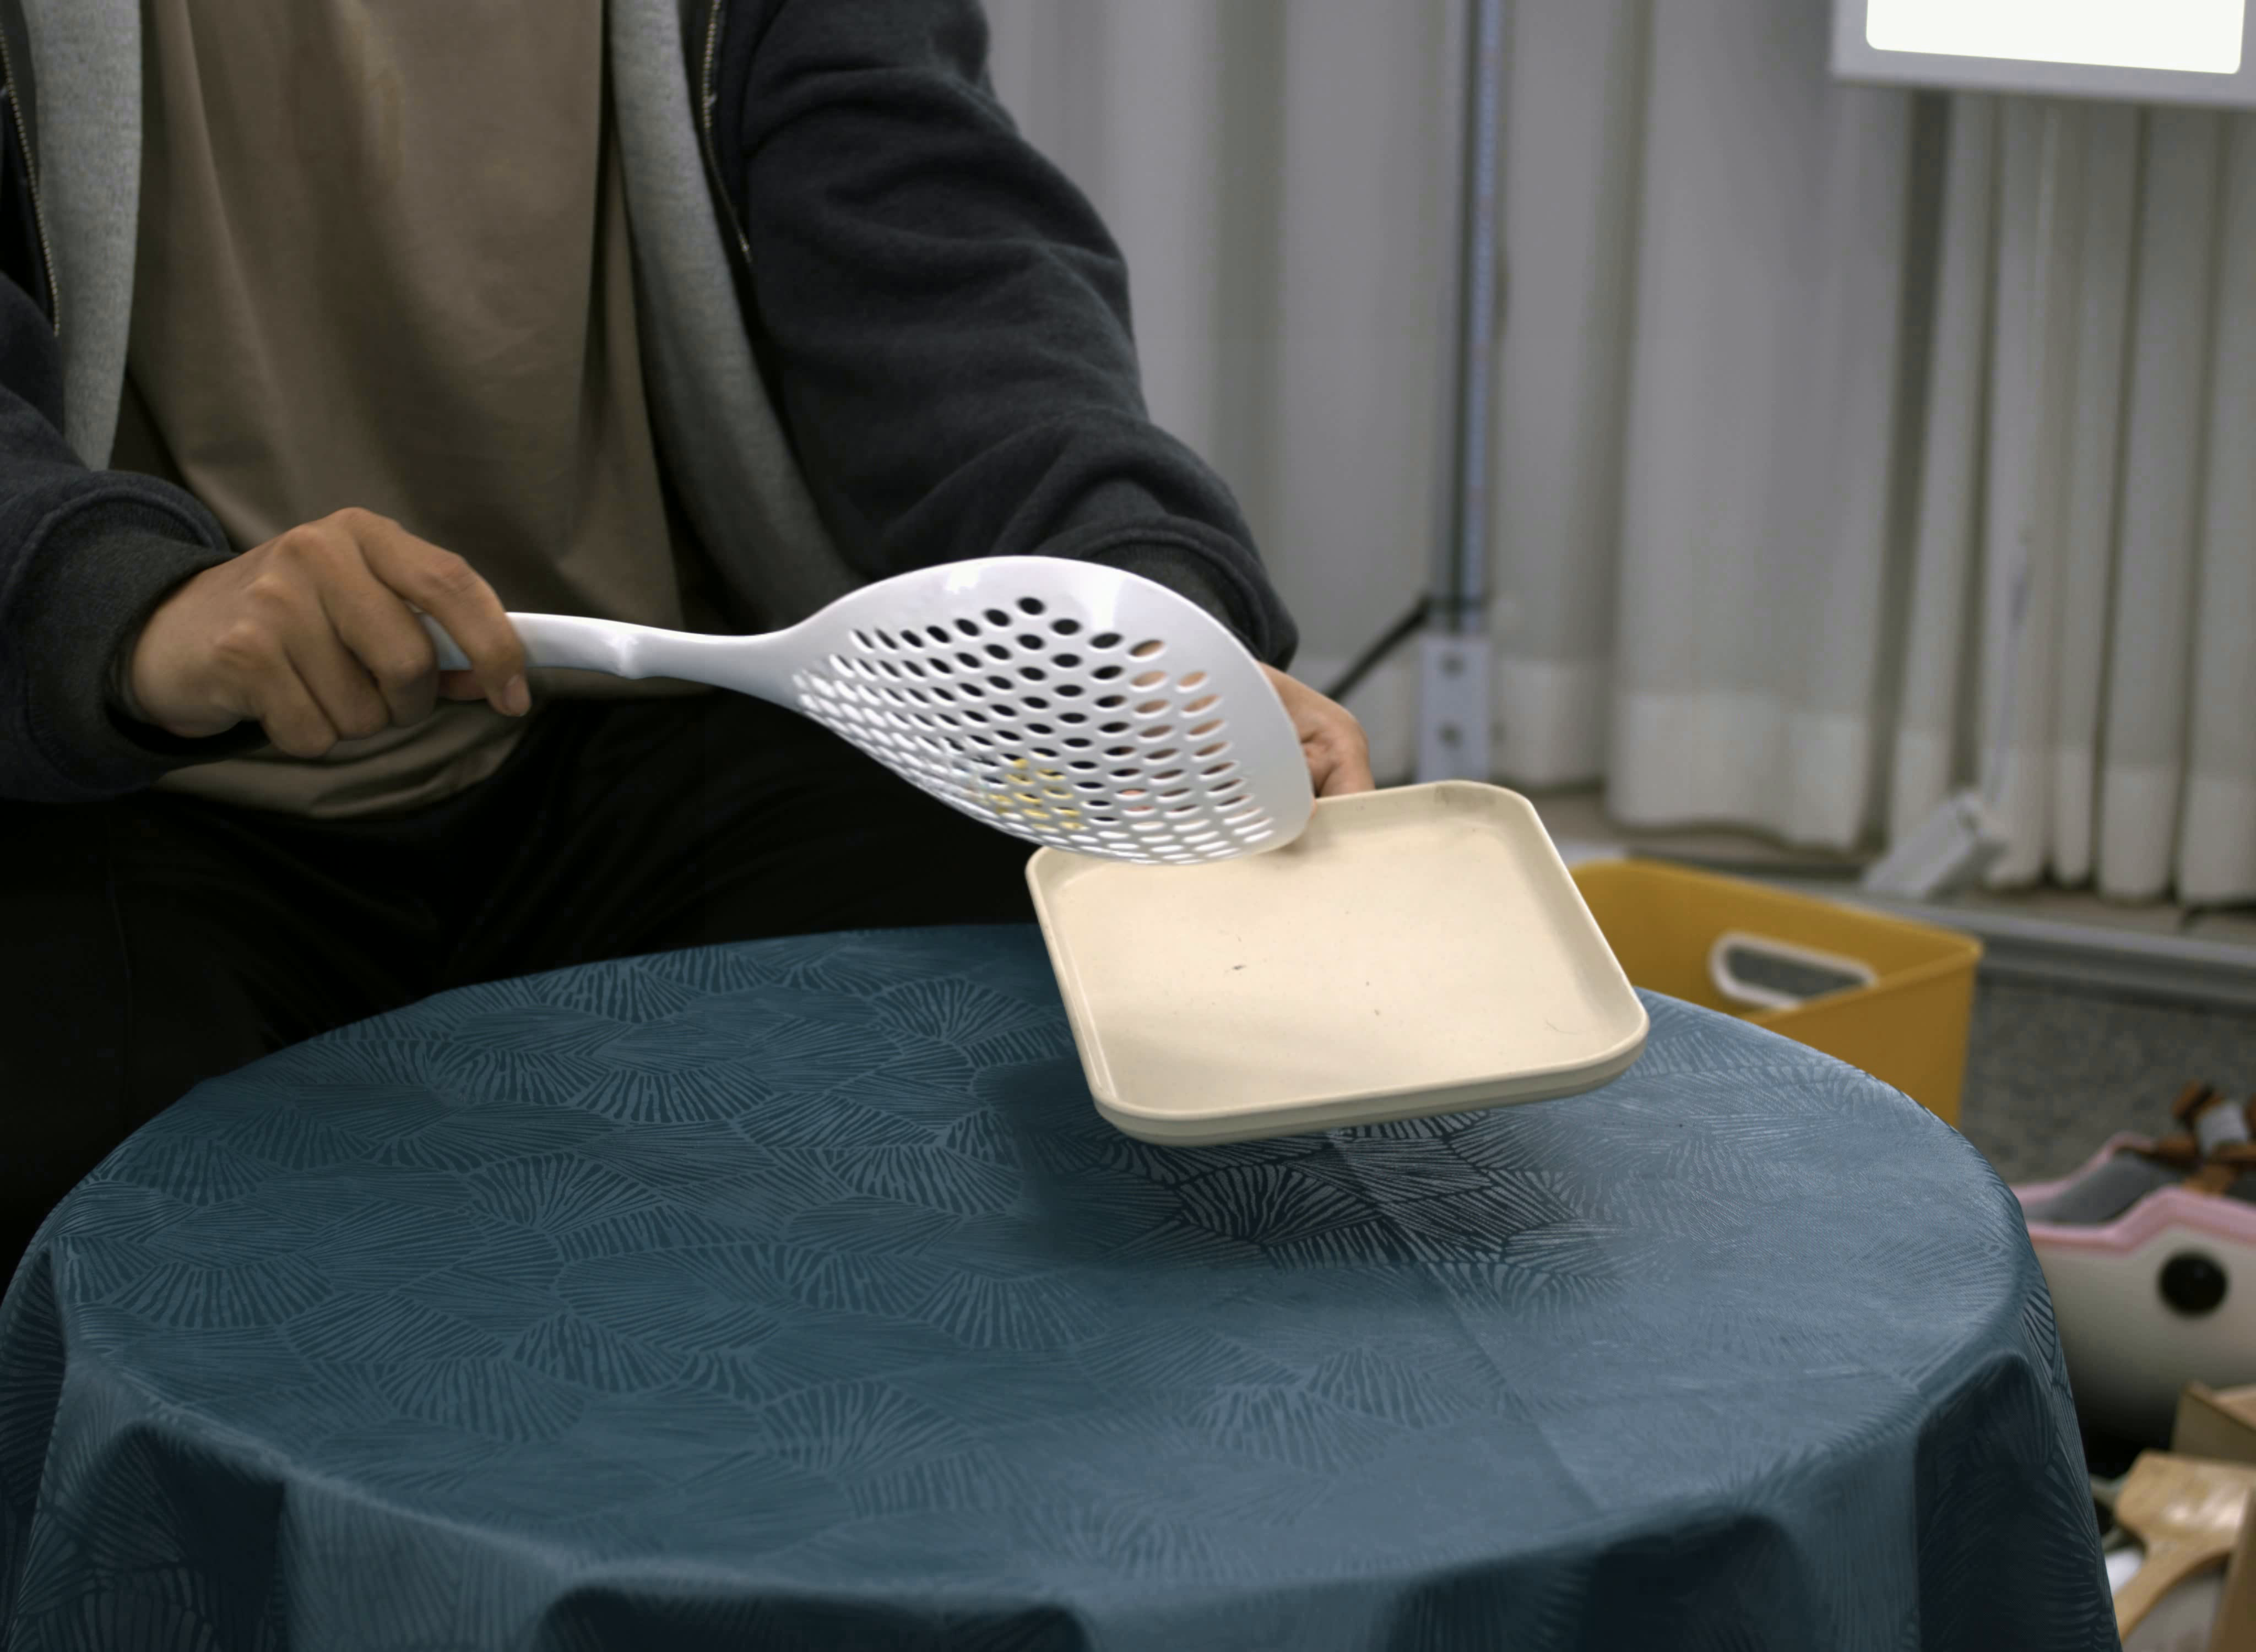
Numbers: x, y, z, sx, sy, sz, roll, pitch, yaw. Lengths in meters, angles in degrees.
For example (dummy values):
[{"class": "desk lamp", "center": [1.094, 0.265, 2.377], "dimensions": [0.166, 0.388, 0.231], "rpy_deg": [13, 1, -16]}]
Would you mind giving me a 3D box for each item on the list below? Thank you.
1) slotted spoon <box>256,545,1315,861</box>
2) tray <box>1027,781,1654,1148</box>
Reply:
[{"class": "slotted spoon", "center": [-0.110, -0.041, 1.589], "dimensions": [0.344, 0.139, 0.050], "rpy_deg": [11, 58, 26]}, {"class": "tray", "center": [0.063, 0.042, 1.653], "dimensions": [0.171, 0.017, 0.237], "rpy_deg": [-8, 22, -5]}]
